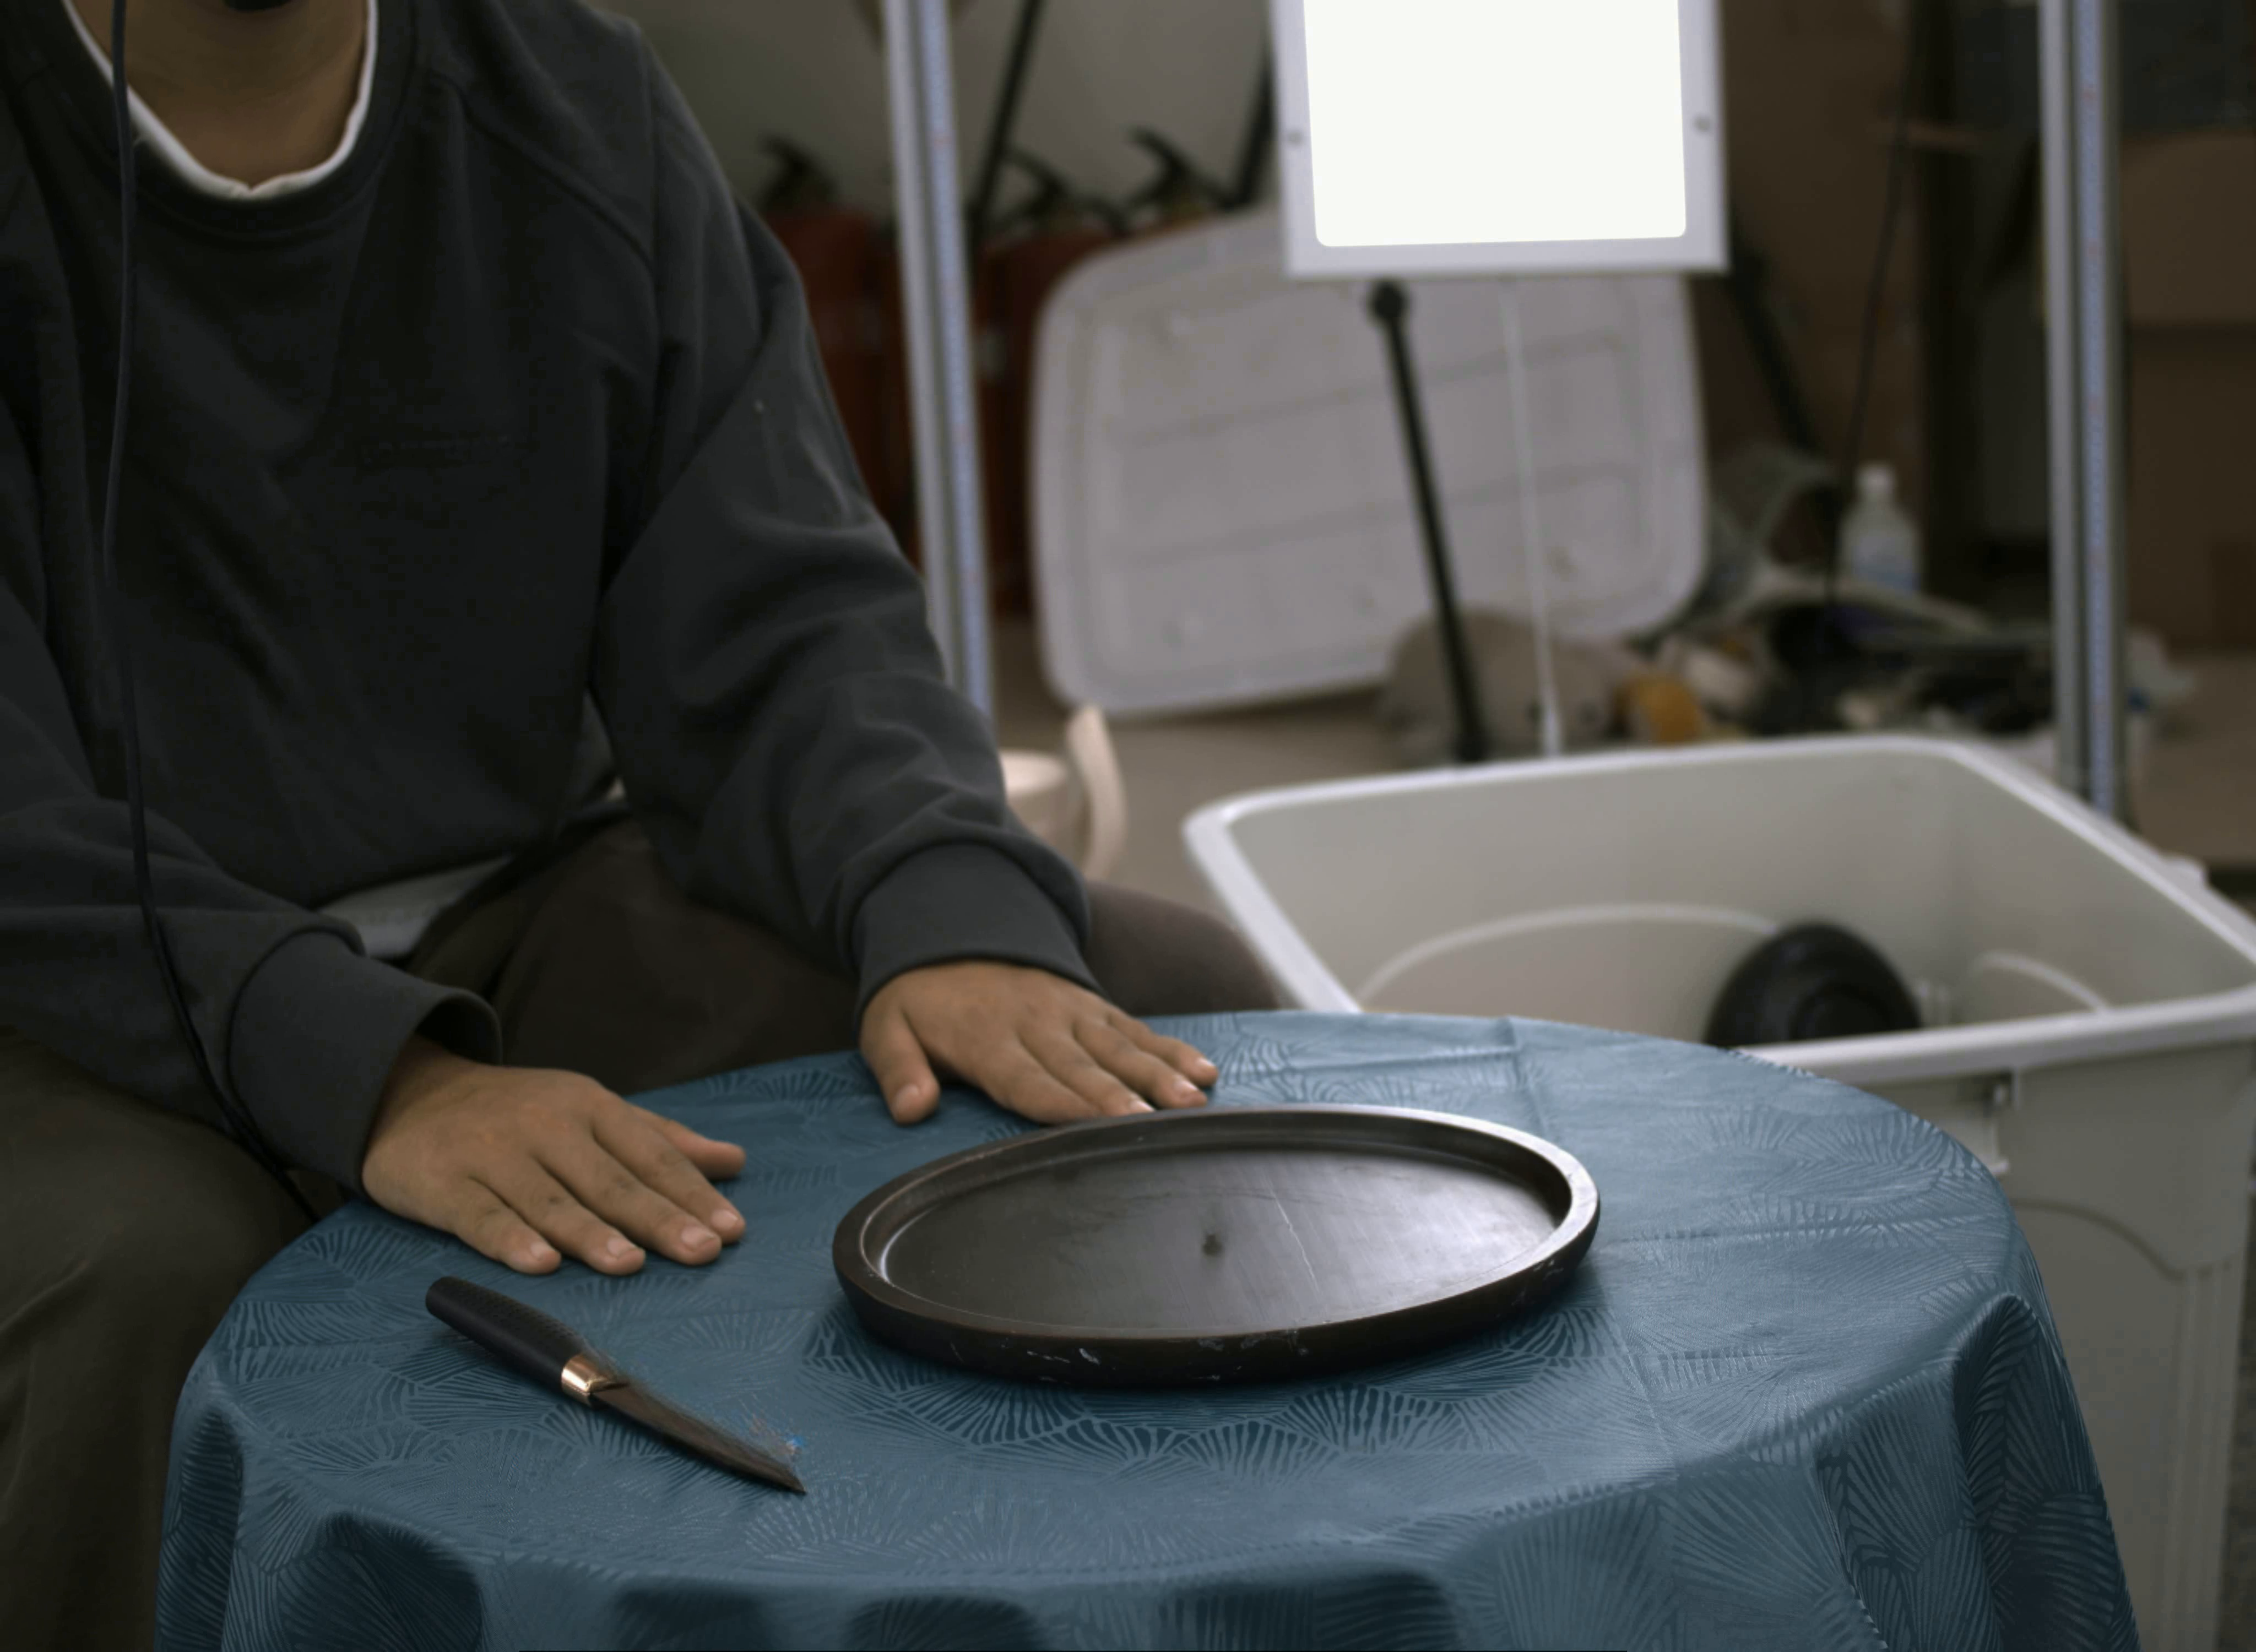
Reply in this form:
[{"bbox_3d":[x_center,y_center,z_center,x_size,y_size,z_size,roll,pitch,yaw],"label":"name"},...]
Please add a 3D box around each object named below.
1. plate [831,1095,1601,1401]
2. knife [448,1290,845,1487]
[{"bbox_3d":[0.029,0.136,1.801,0.254,0.029,0.254,-7,13,0],"label":"plate"},{"bbox_3d":[-0.153,0.177,1.725,0.025,0.017,0.230,-7,13,-33],"label":"knife"}]
